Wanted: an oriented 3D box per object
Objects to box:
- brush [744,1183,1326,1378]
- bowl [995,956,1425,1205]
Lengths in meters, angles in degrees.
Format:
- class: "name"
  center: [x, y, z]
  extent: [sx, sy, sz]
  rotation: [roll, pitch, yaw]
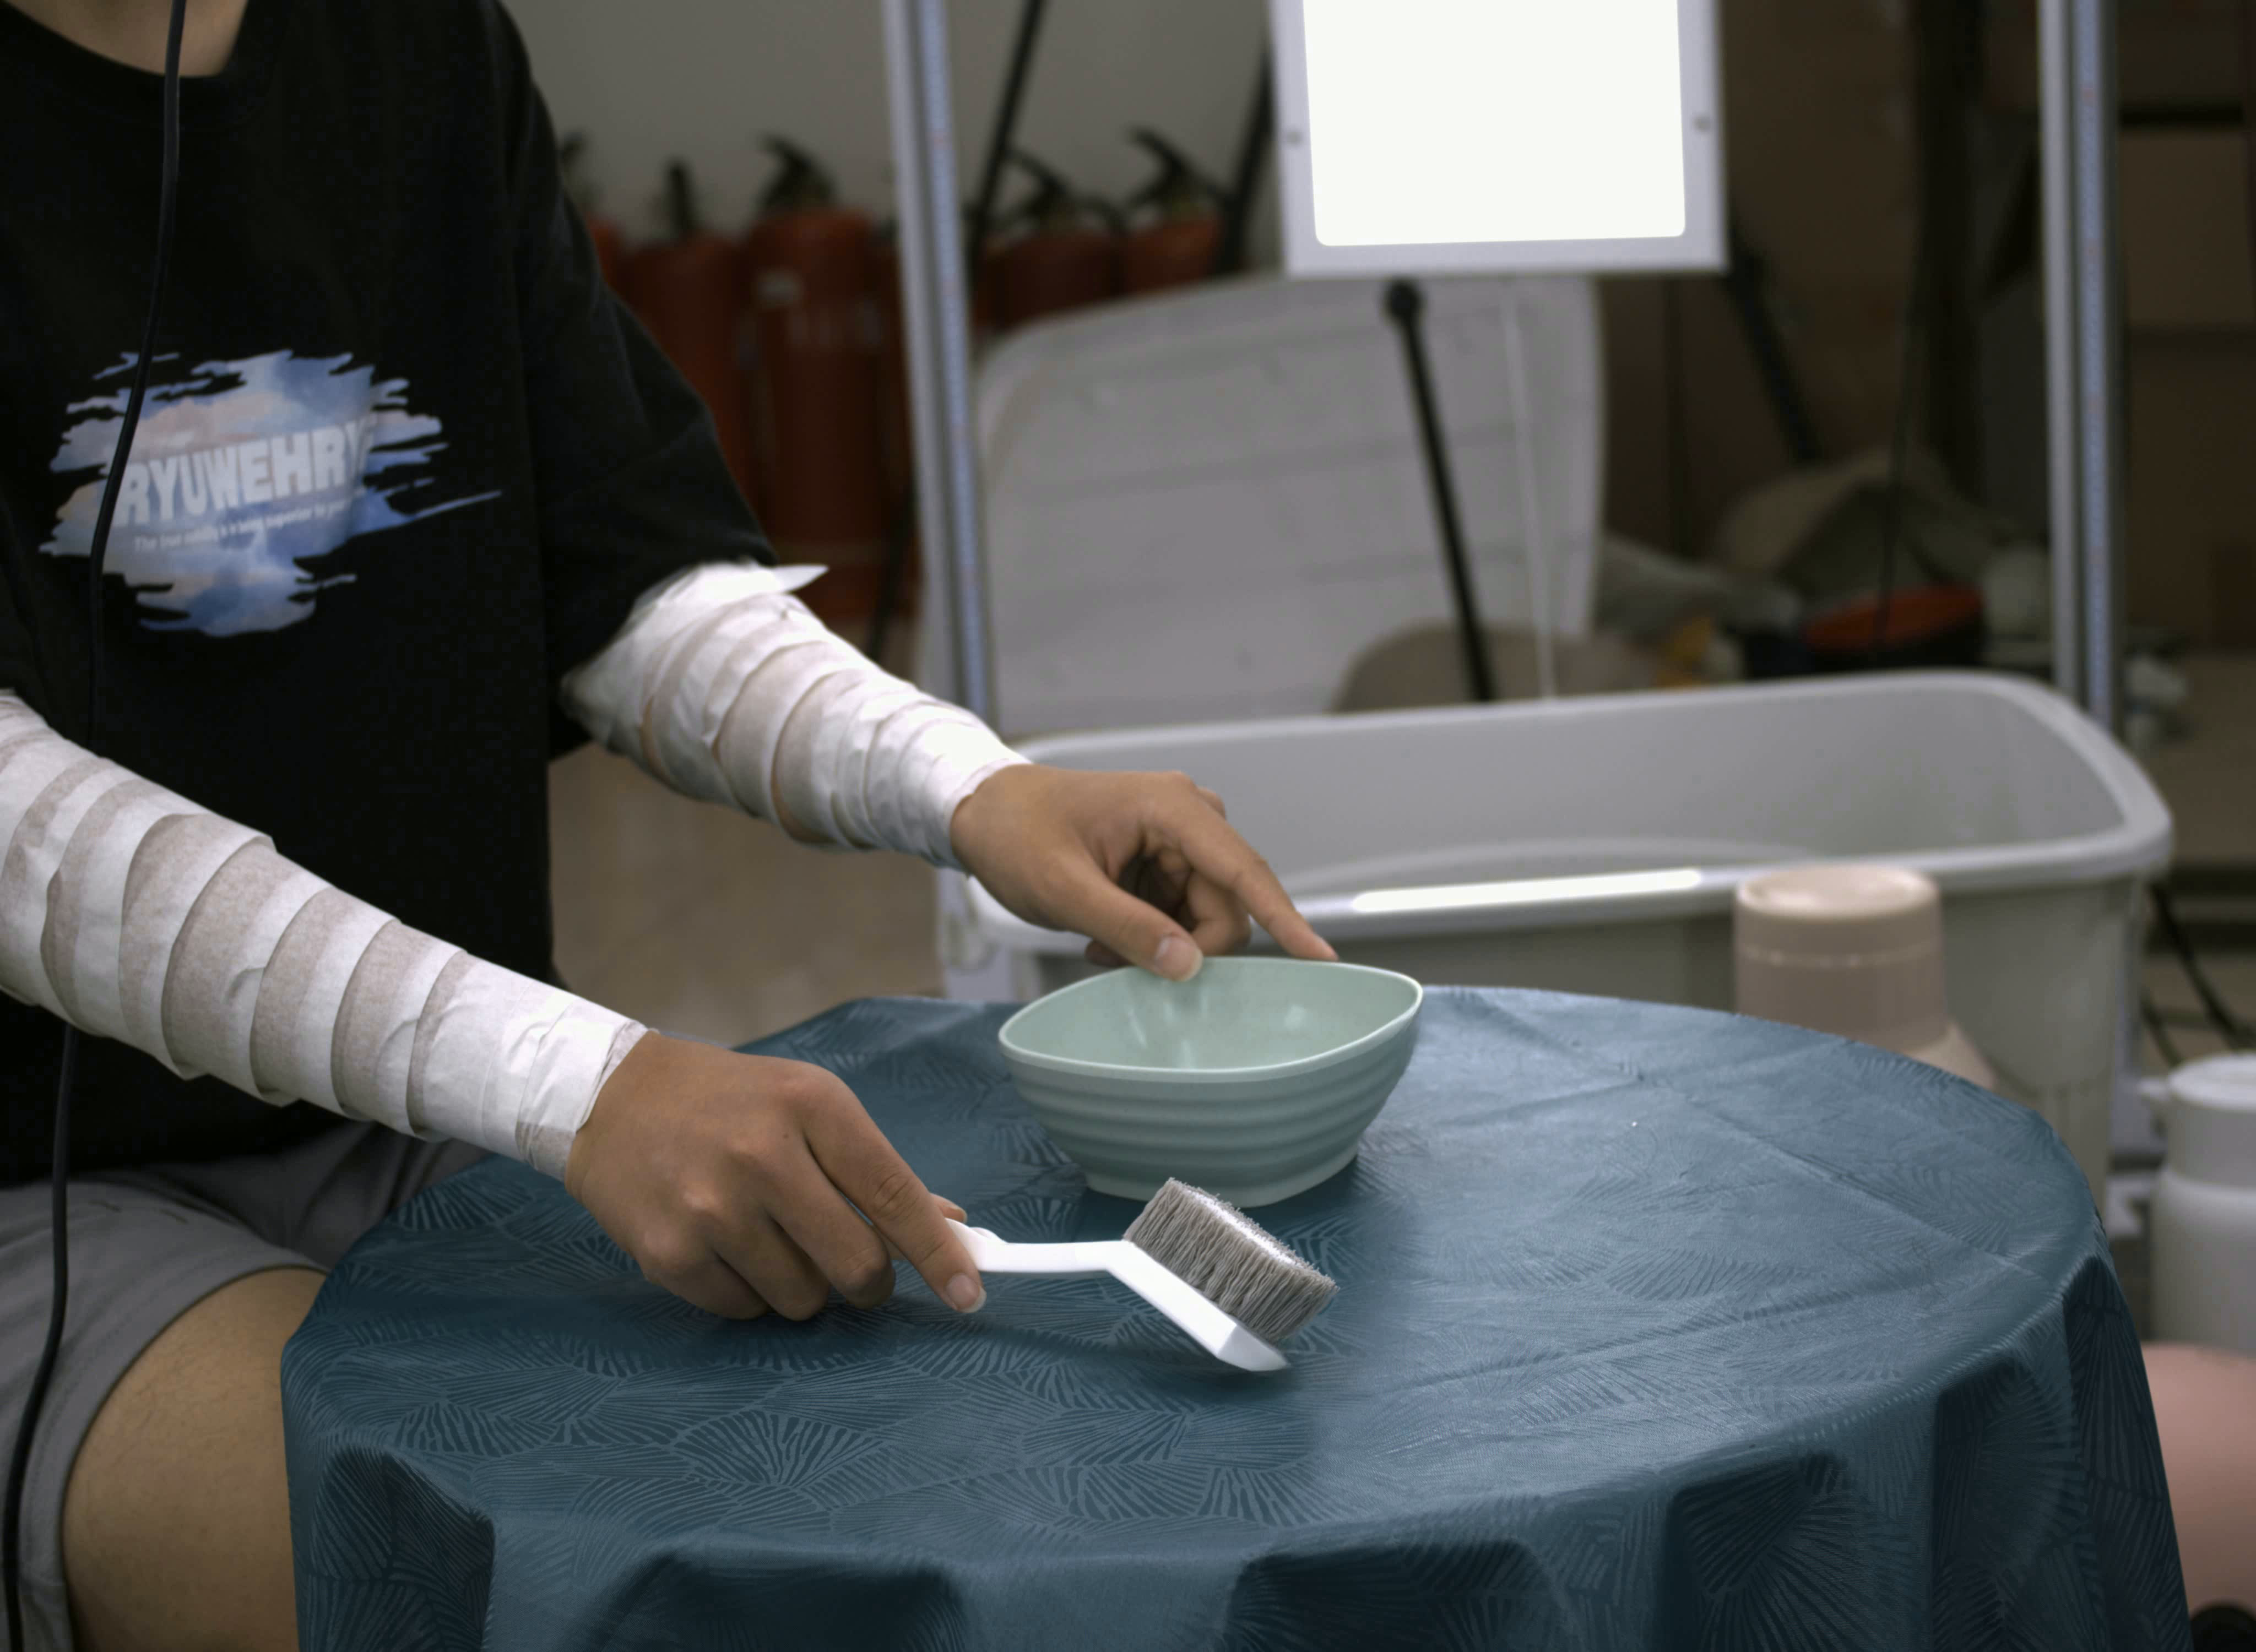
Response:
- class: "brush"
  center: [-0.034, 0.127, 1.770]
  extent: [0.249, 0.050, 0.033]
  rotation: [13, -4, 45]
- class: "bowl"
  center: [0.030, 0.091, 1.909]
  extent: [0.151, 0.059, 0.151]
  rotation: [-3, 13, -1]
